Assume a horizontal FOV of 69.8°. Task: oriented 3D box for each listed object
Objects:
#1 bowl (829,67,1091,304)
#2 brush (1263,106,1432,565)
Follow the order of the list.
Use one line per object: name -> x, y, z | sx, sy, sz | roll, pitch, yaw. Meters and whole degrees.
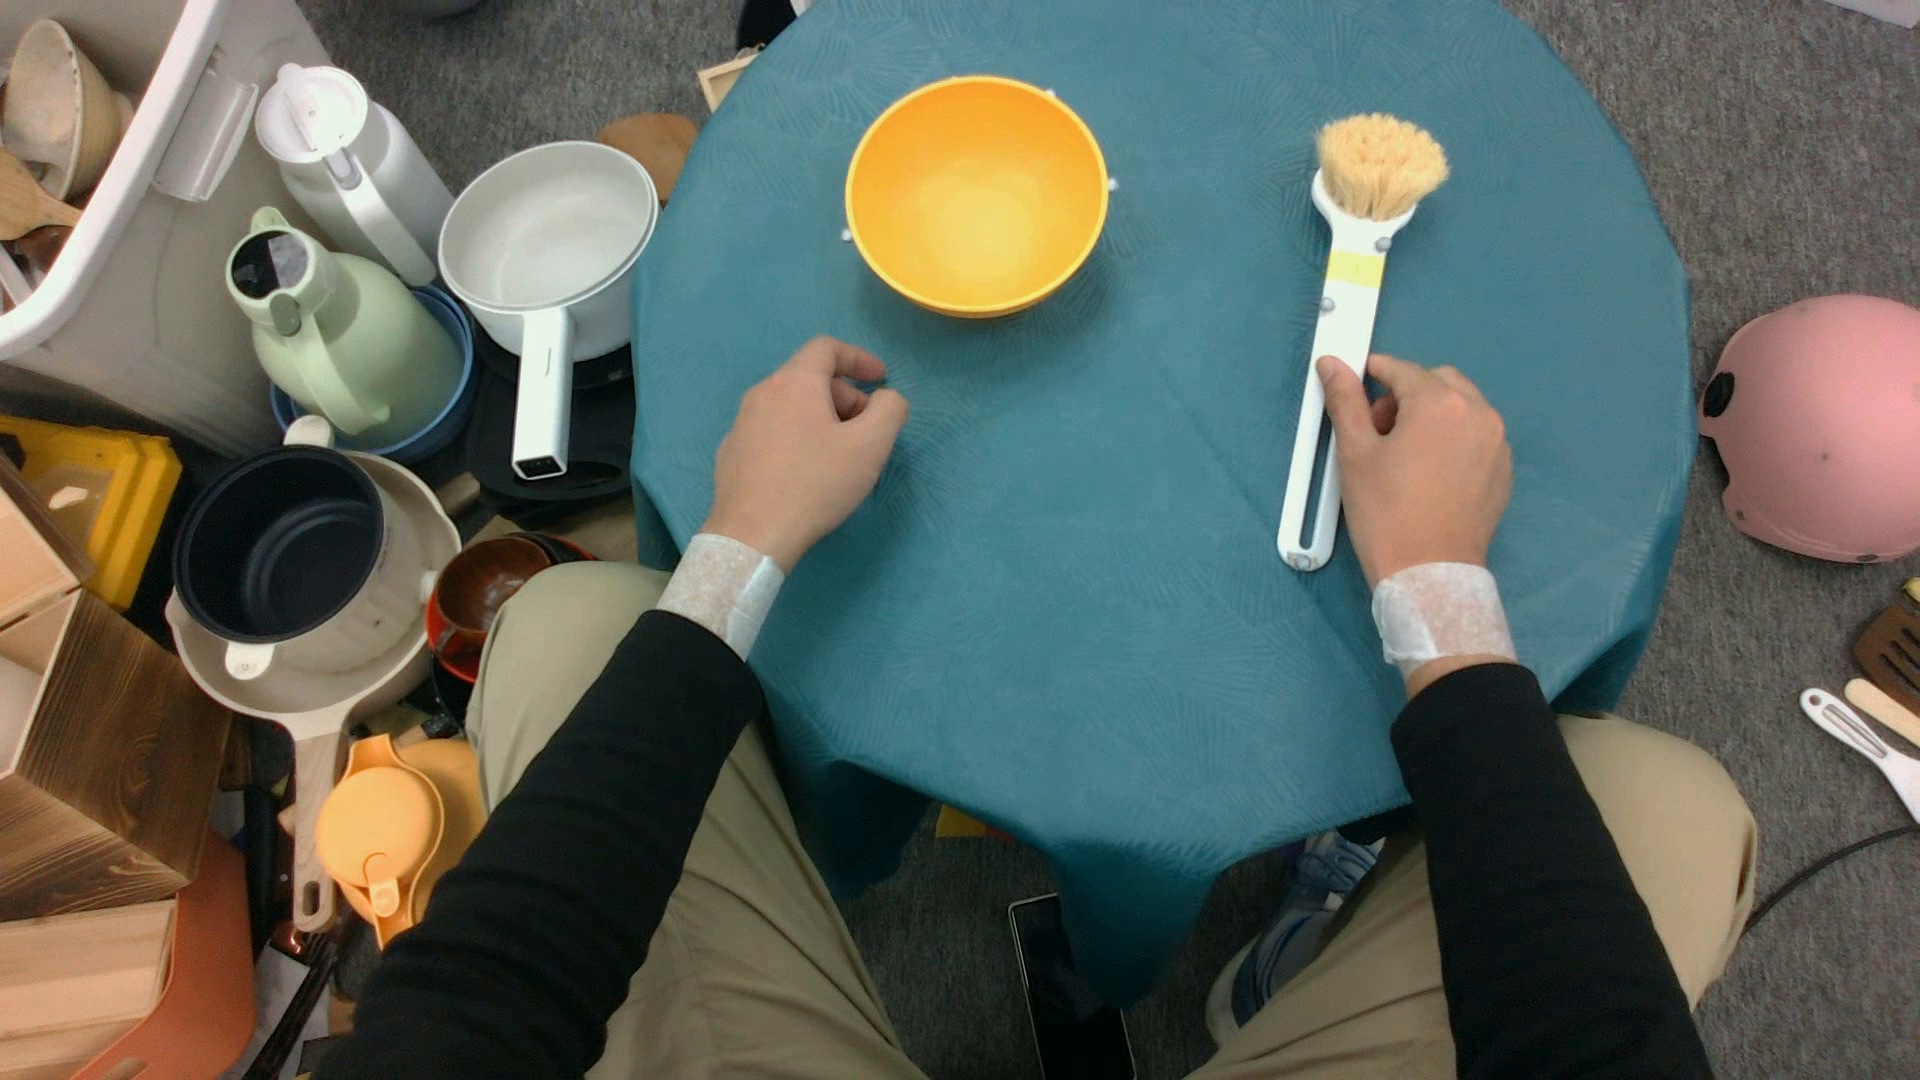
bowl -> 0.001, -0.191, 0.782 | 0.145, 0.060, 0.145 | -1, 74, 3
brush -> 0.207, -0.119, 0.757 | 0.068, 0.056, 0.267 | 12, 75, 6
